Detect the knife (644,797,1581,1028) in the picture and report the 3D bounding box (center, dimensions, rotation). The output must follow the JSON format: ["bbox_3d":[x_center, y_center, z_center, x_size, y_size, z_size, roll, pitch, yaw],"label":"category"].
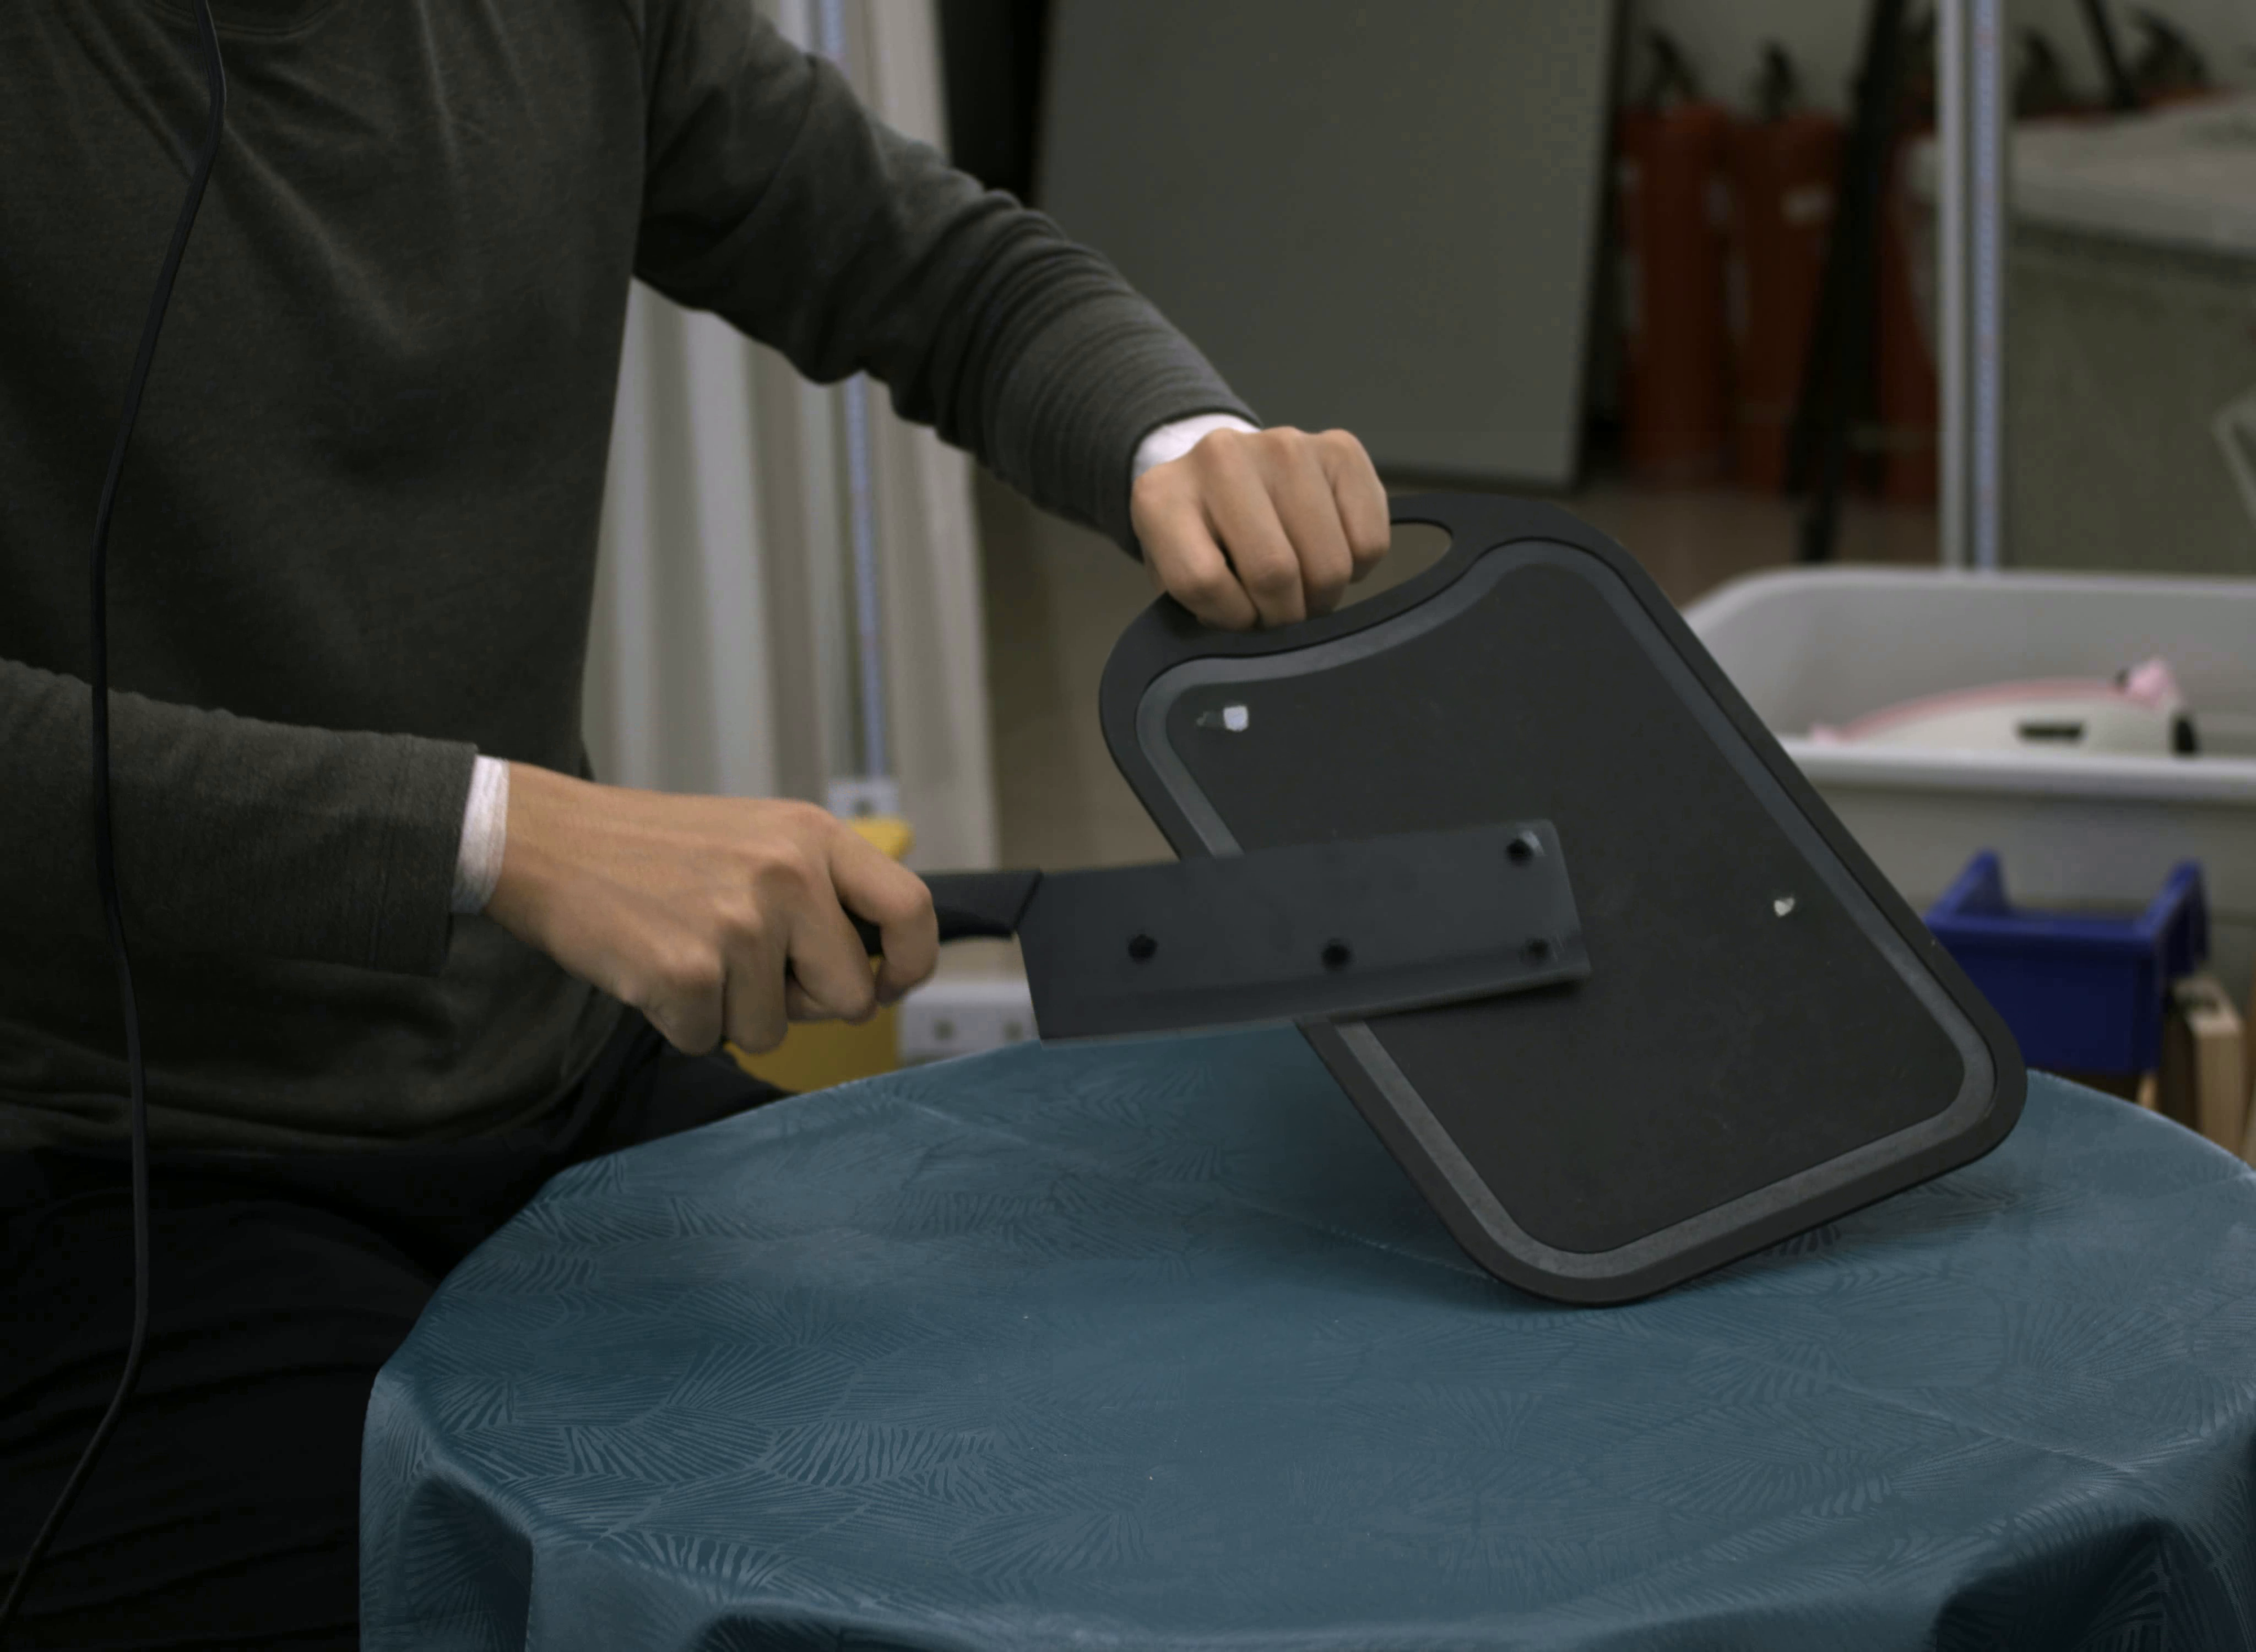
[{"bbox_3d":[-0.005,0.032,1.717,0.298,0.021,0.082,-4,53,-3],"label":"knife"}]

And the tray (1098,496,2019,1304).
[{"bbox_3d":[0.132,0.011,1.744,0.207,0.010,0.329,-19,54,-22],"label":"tray"}]
